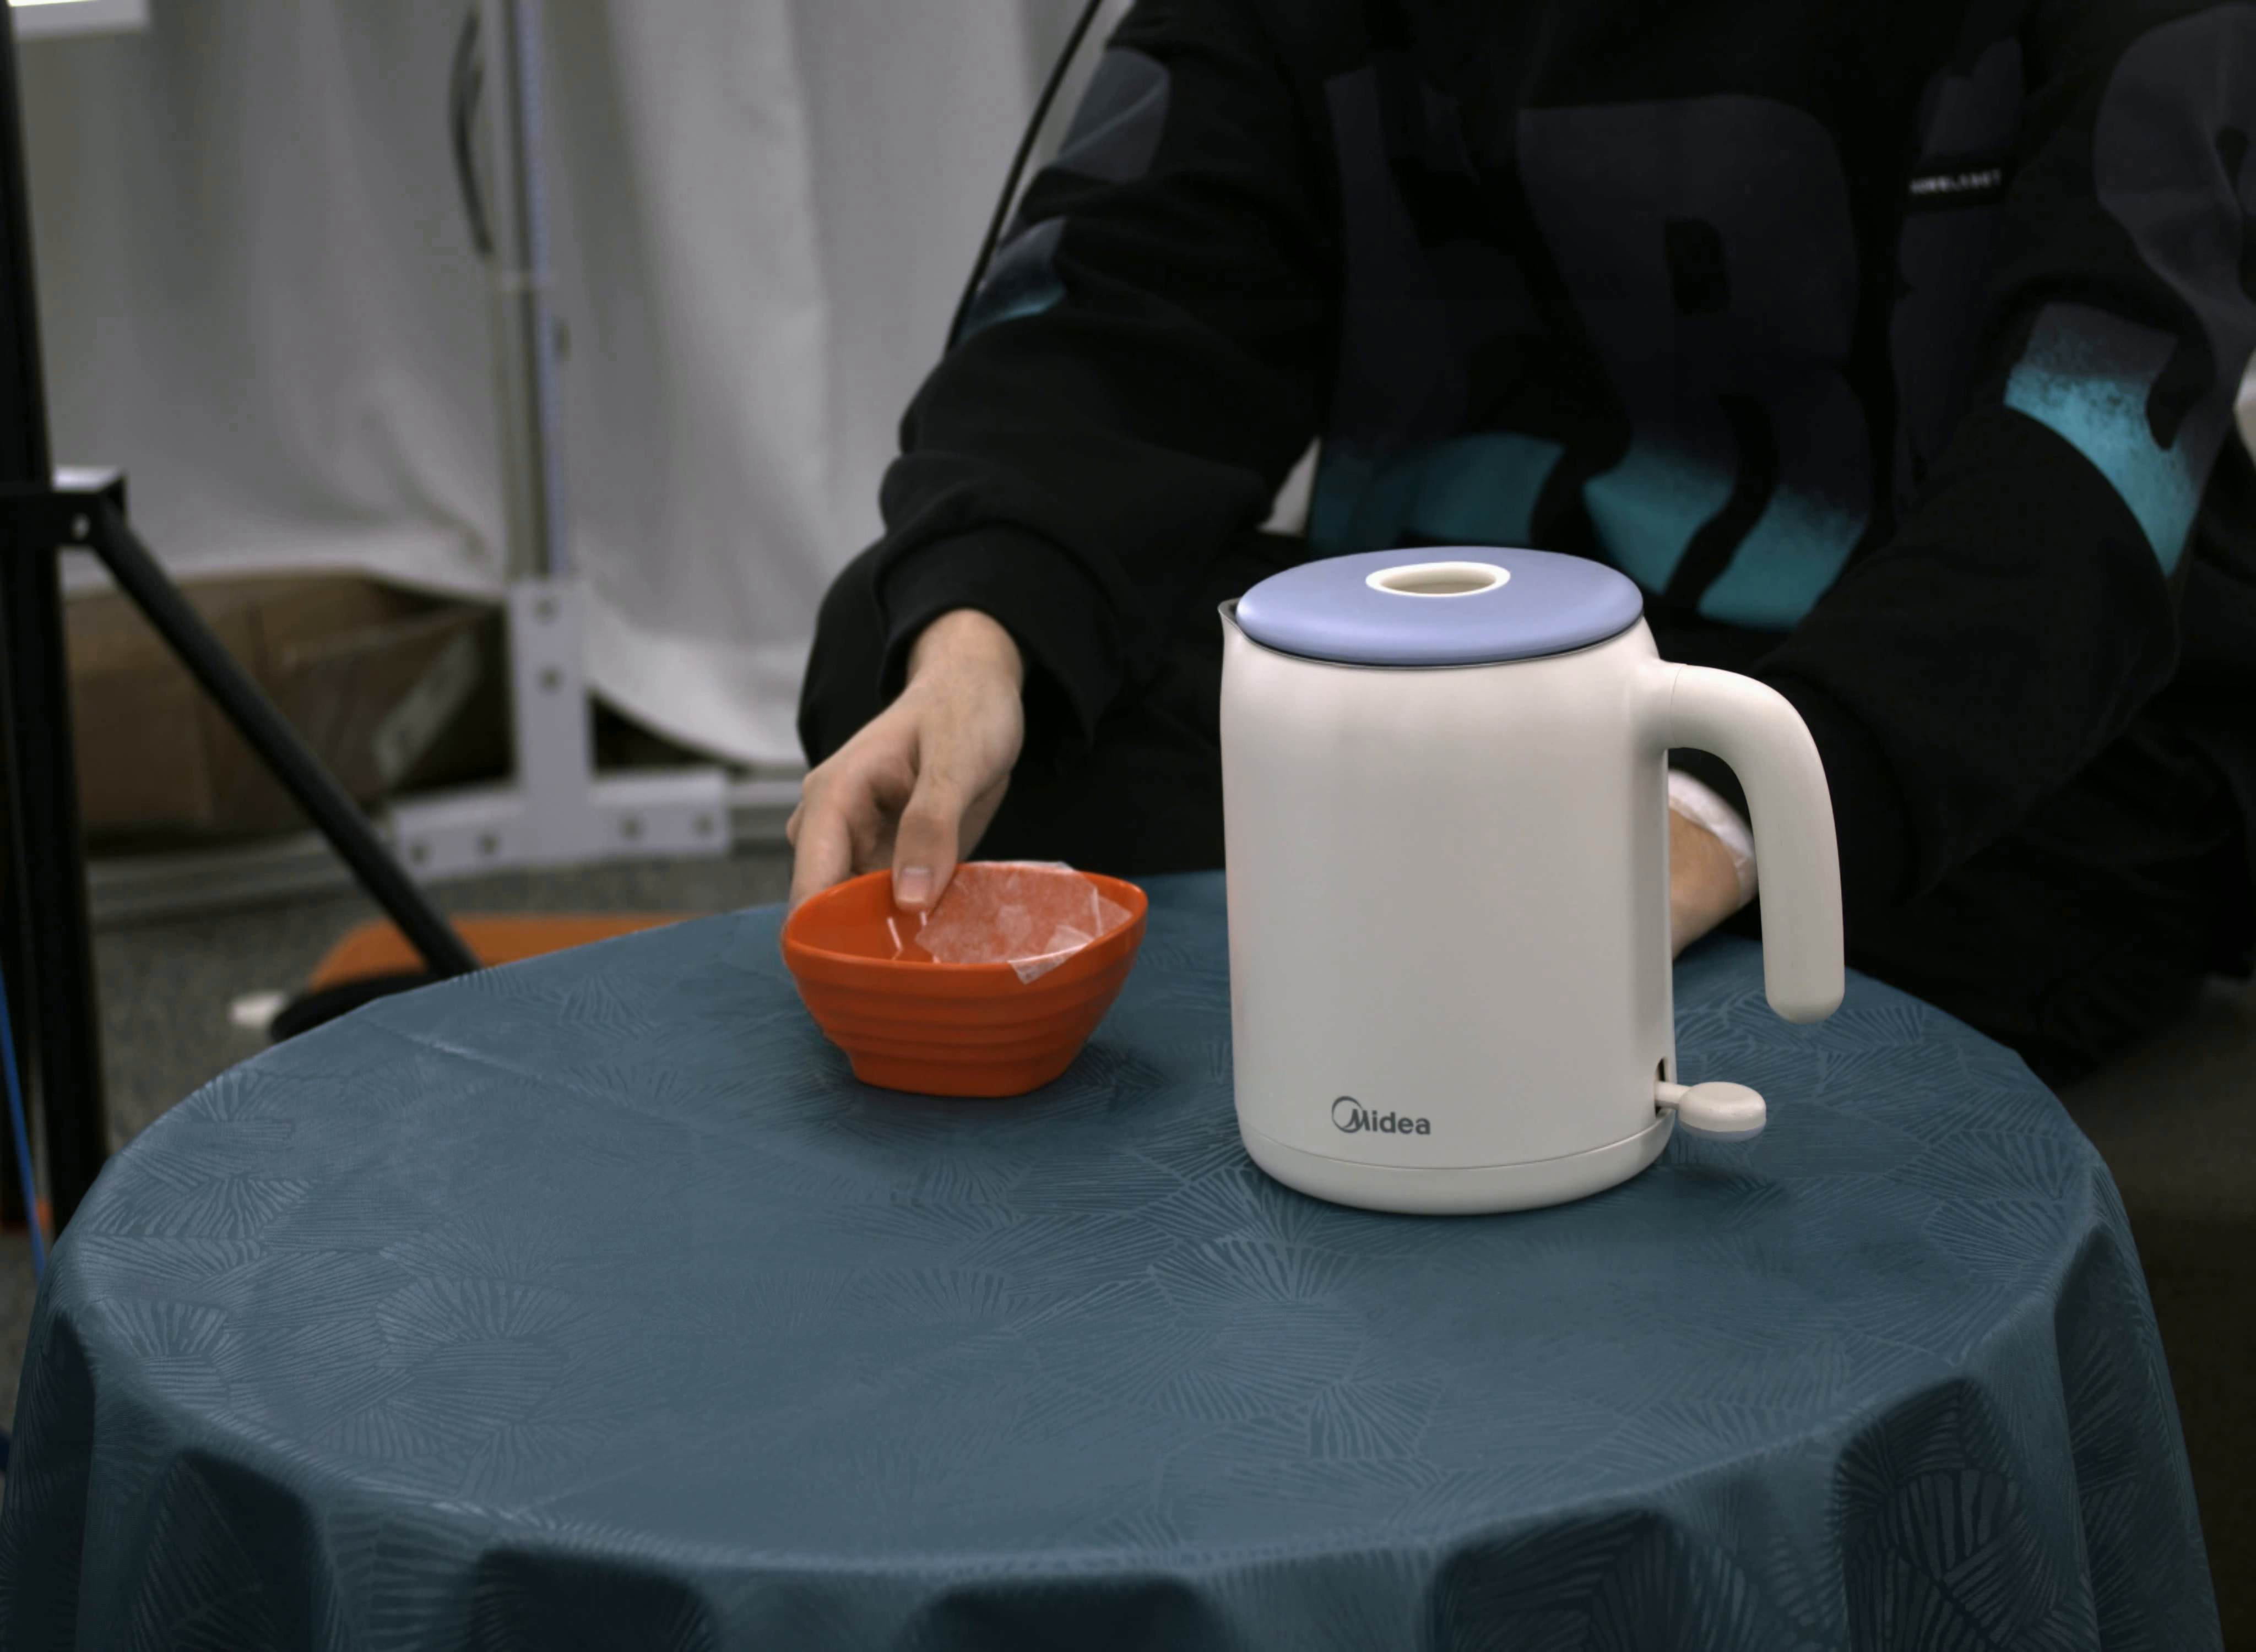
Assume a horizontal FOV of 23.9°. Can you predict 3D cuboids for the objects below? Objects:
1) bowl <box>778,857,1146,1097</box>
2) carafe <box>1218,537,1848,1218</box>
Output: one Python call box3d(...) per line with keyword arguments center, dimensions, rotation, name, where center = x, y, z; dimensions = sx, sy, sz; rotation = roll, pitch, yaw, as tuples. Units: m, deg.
box3d(center=(-0.050, 0.050, 1.674), dimensions=(0.118, 0.051, 0.119), rotation=(-5, 17, 0), name="bowl")
box3d(center=(0.117, 0.017, 1.549), dimensions=(0.193, 0.182, 0.130), rotation=(6, 19, 21), name="carafe")
